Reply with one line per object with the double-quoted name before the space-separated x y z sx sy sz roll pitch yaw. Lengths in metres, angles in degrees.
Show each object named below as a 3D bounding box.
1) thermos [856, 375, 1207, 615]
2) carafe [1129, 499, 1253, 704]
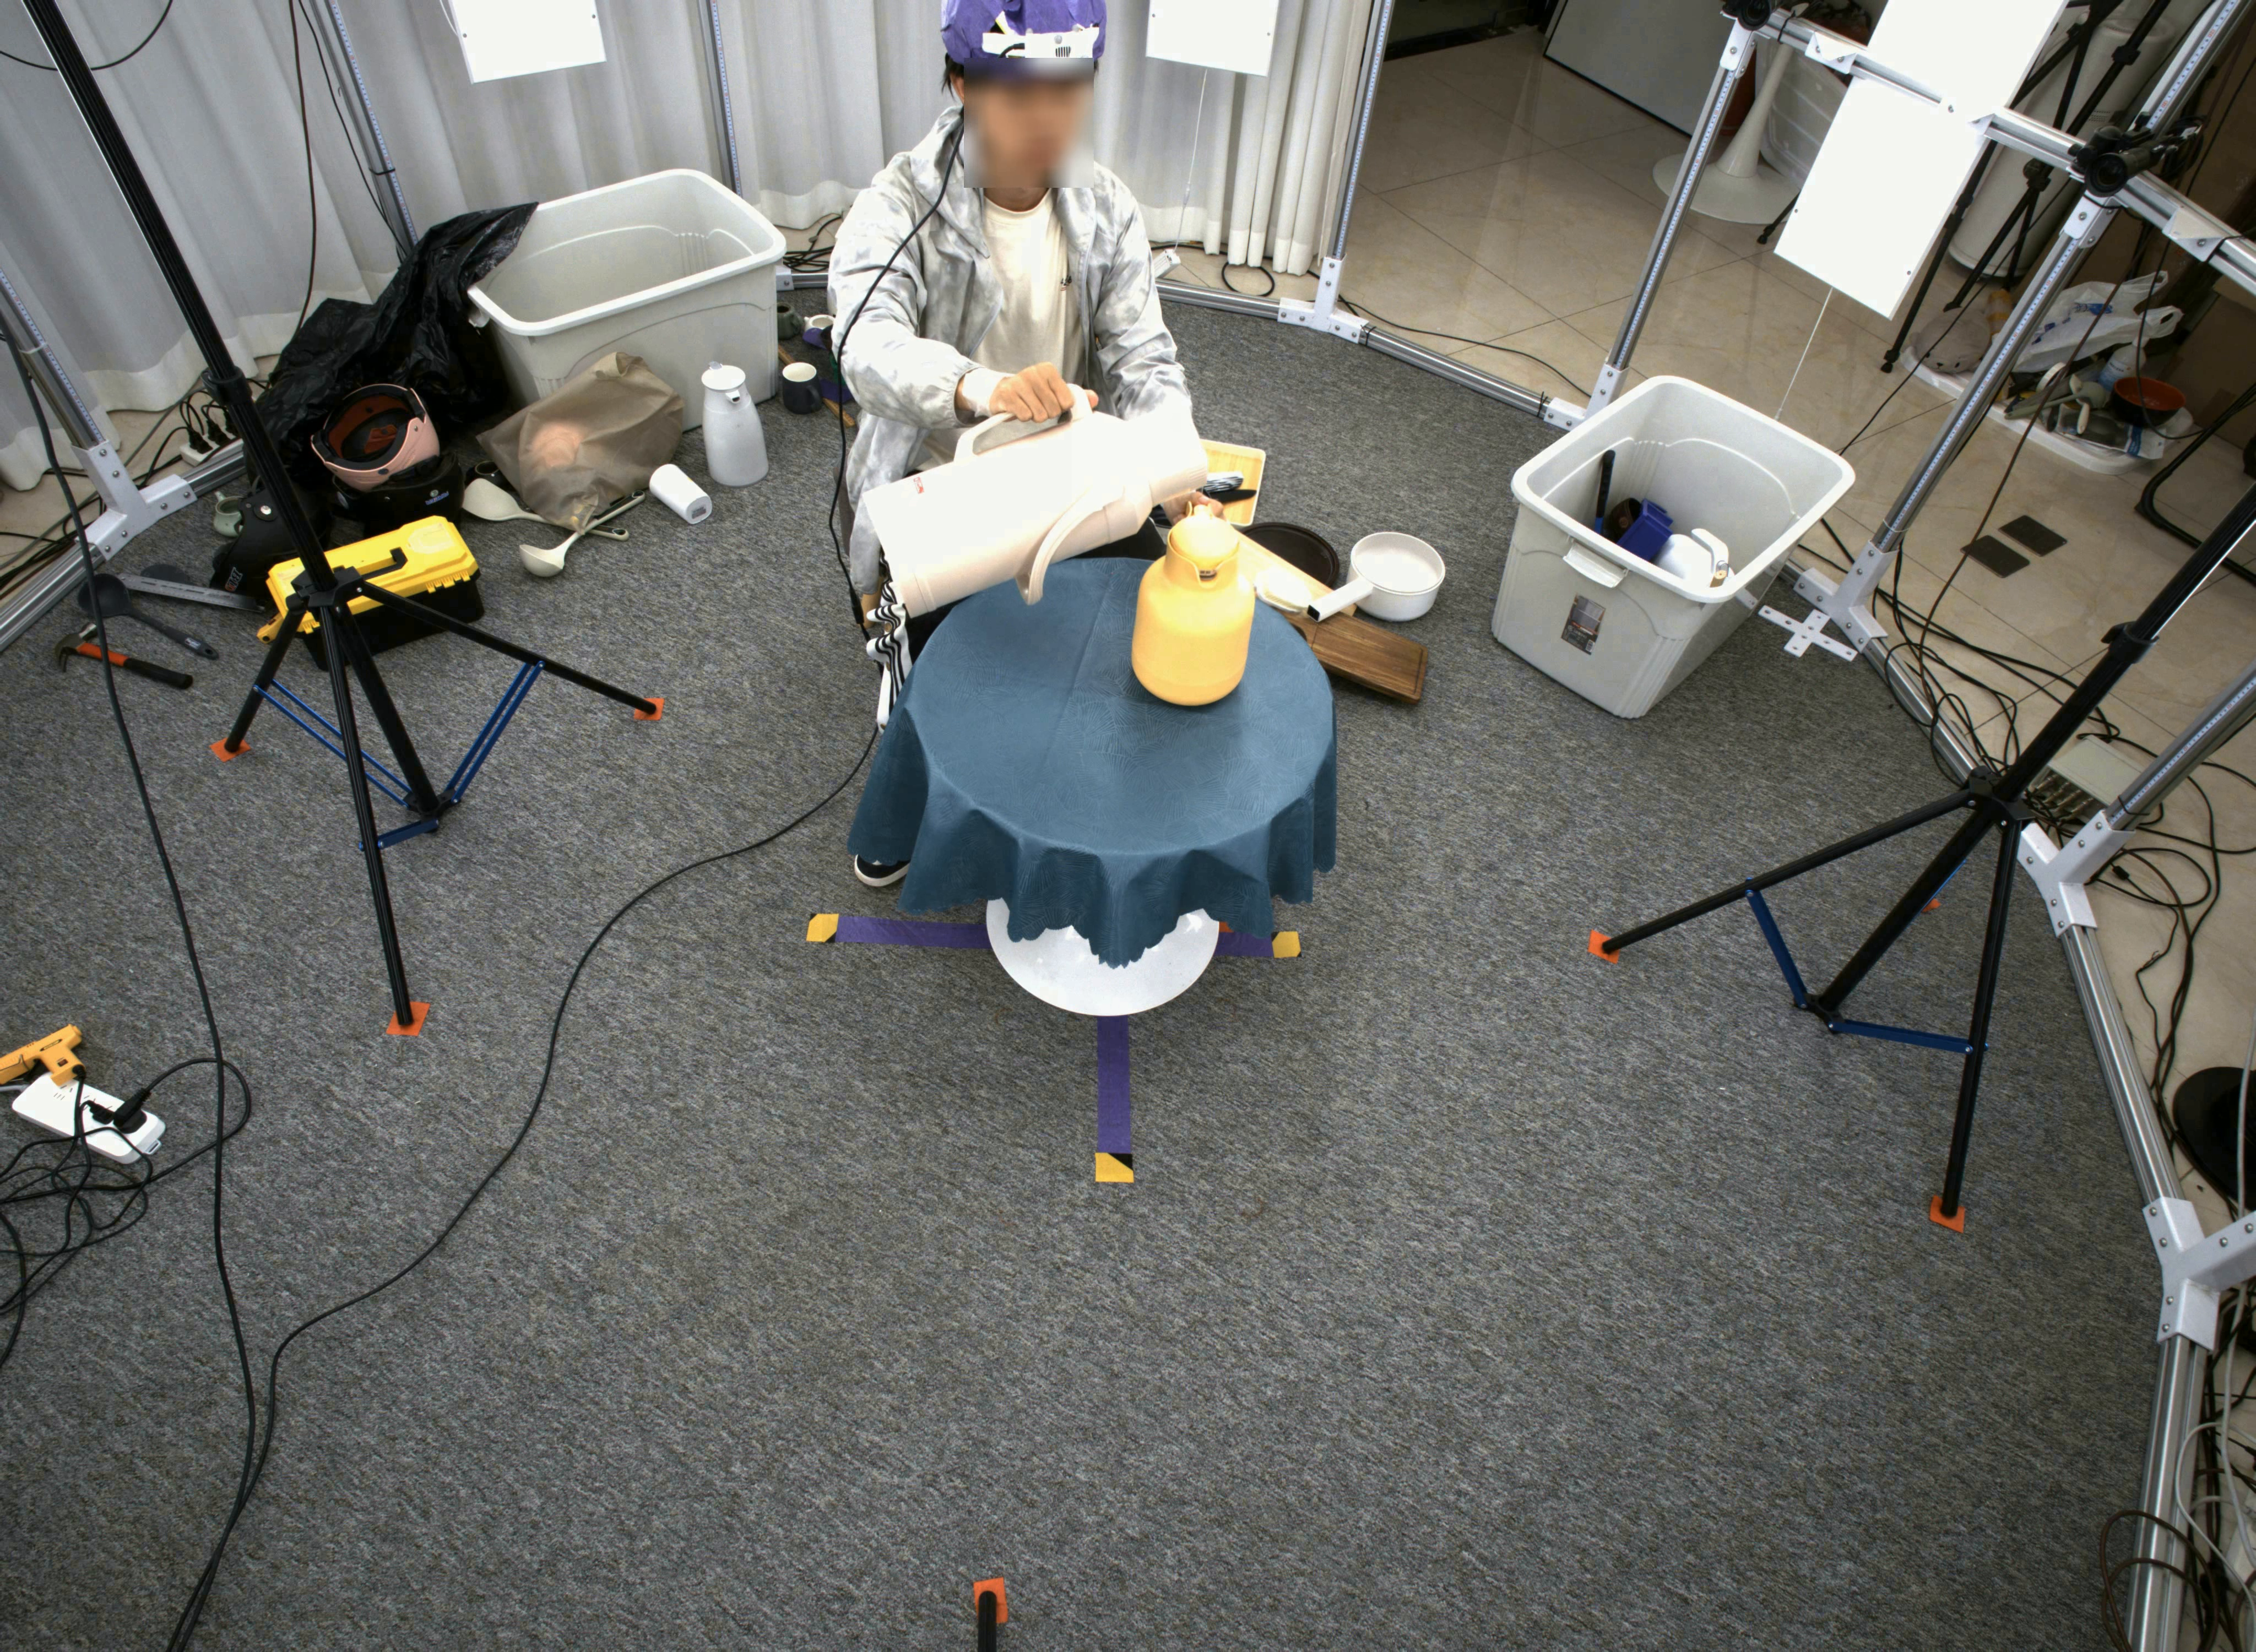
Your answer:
"thermos" -0.114 -0.410 1.551 0.406 0.203 0.178 -21 22 -4
"carafe" 0.092 -0.316 1.774 0.163 0.254 0.207 4 50 -4
